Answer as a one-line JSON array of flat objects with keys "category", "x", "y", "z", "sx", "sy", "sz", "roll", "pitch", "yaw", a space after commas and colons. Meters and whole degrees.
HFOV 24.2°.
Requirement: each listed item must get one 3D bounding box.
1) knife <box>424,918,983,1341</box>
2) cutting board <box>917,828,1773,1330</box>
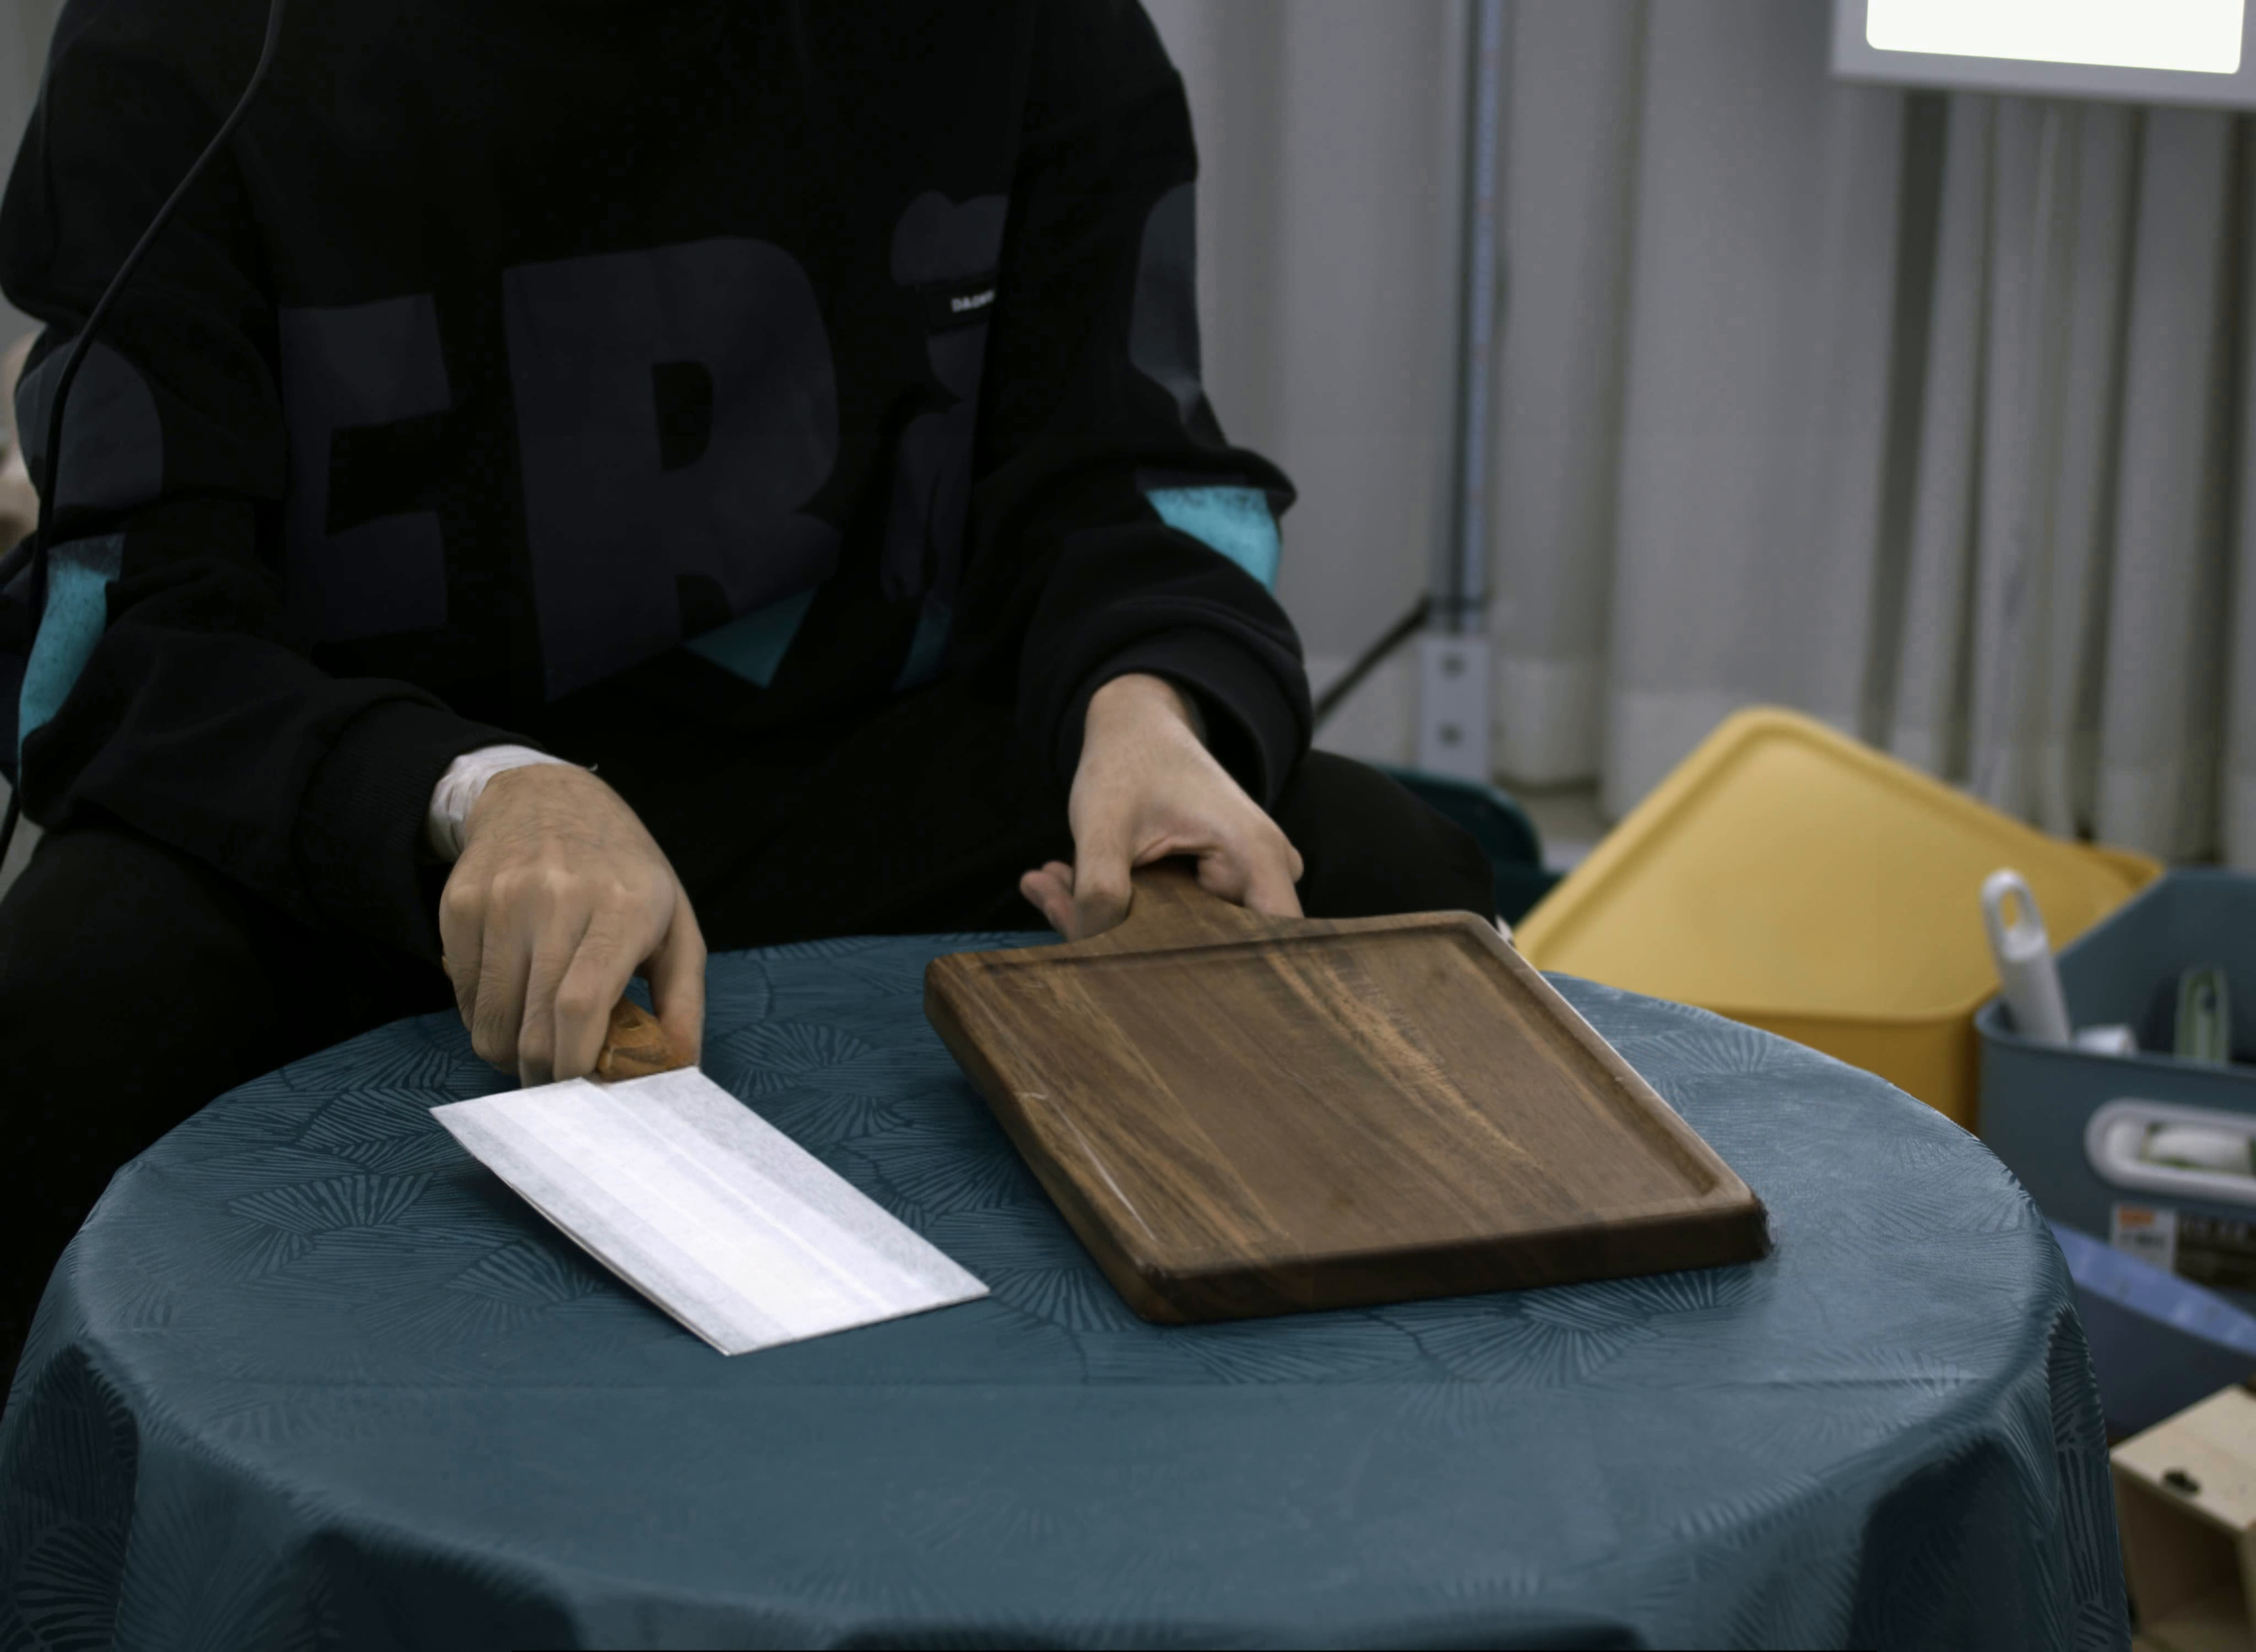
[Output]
[{"category": "knife", "x": -0.159, "y": 0.092, "z": 1.623, "sx": 0.093, "sy": 0.021, "sz": 0.301, "roll": -10, "pitch": 25, "yaw": -33}, {"category": "cutting board", "x": 0.047, "y": 0.069, "z": 1.685, "sx": 0.201, "sy": 0.023, "sz": 0.348, "roll": -5, "pitch": 21, "yaw": -18}]
